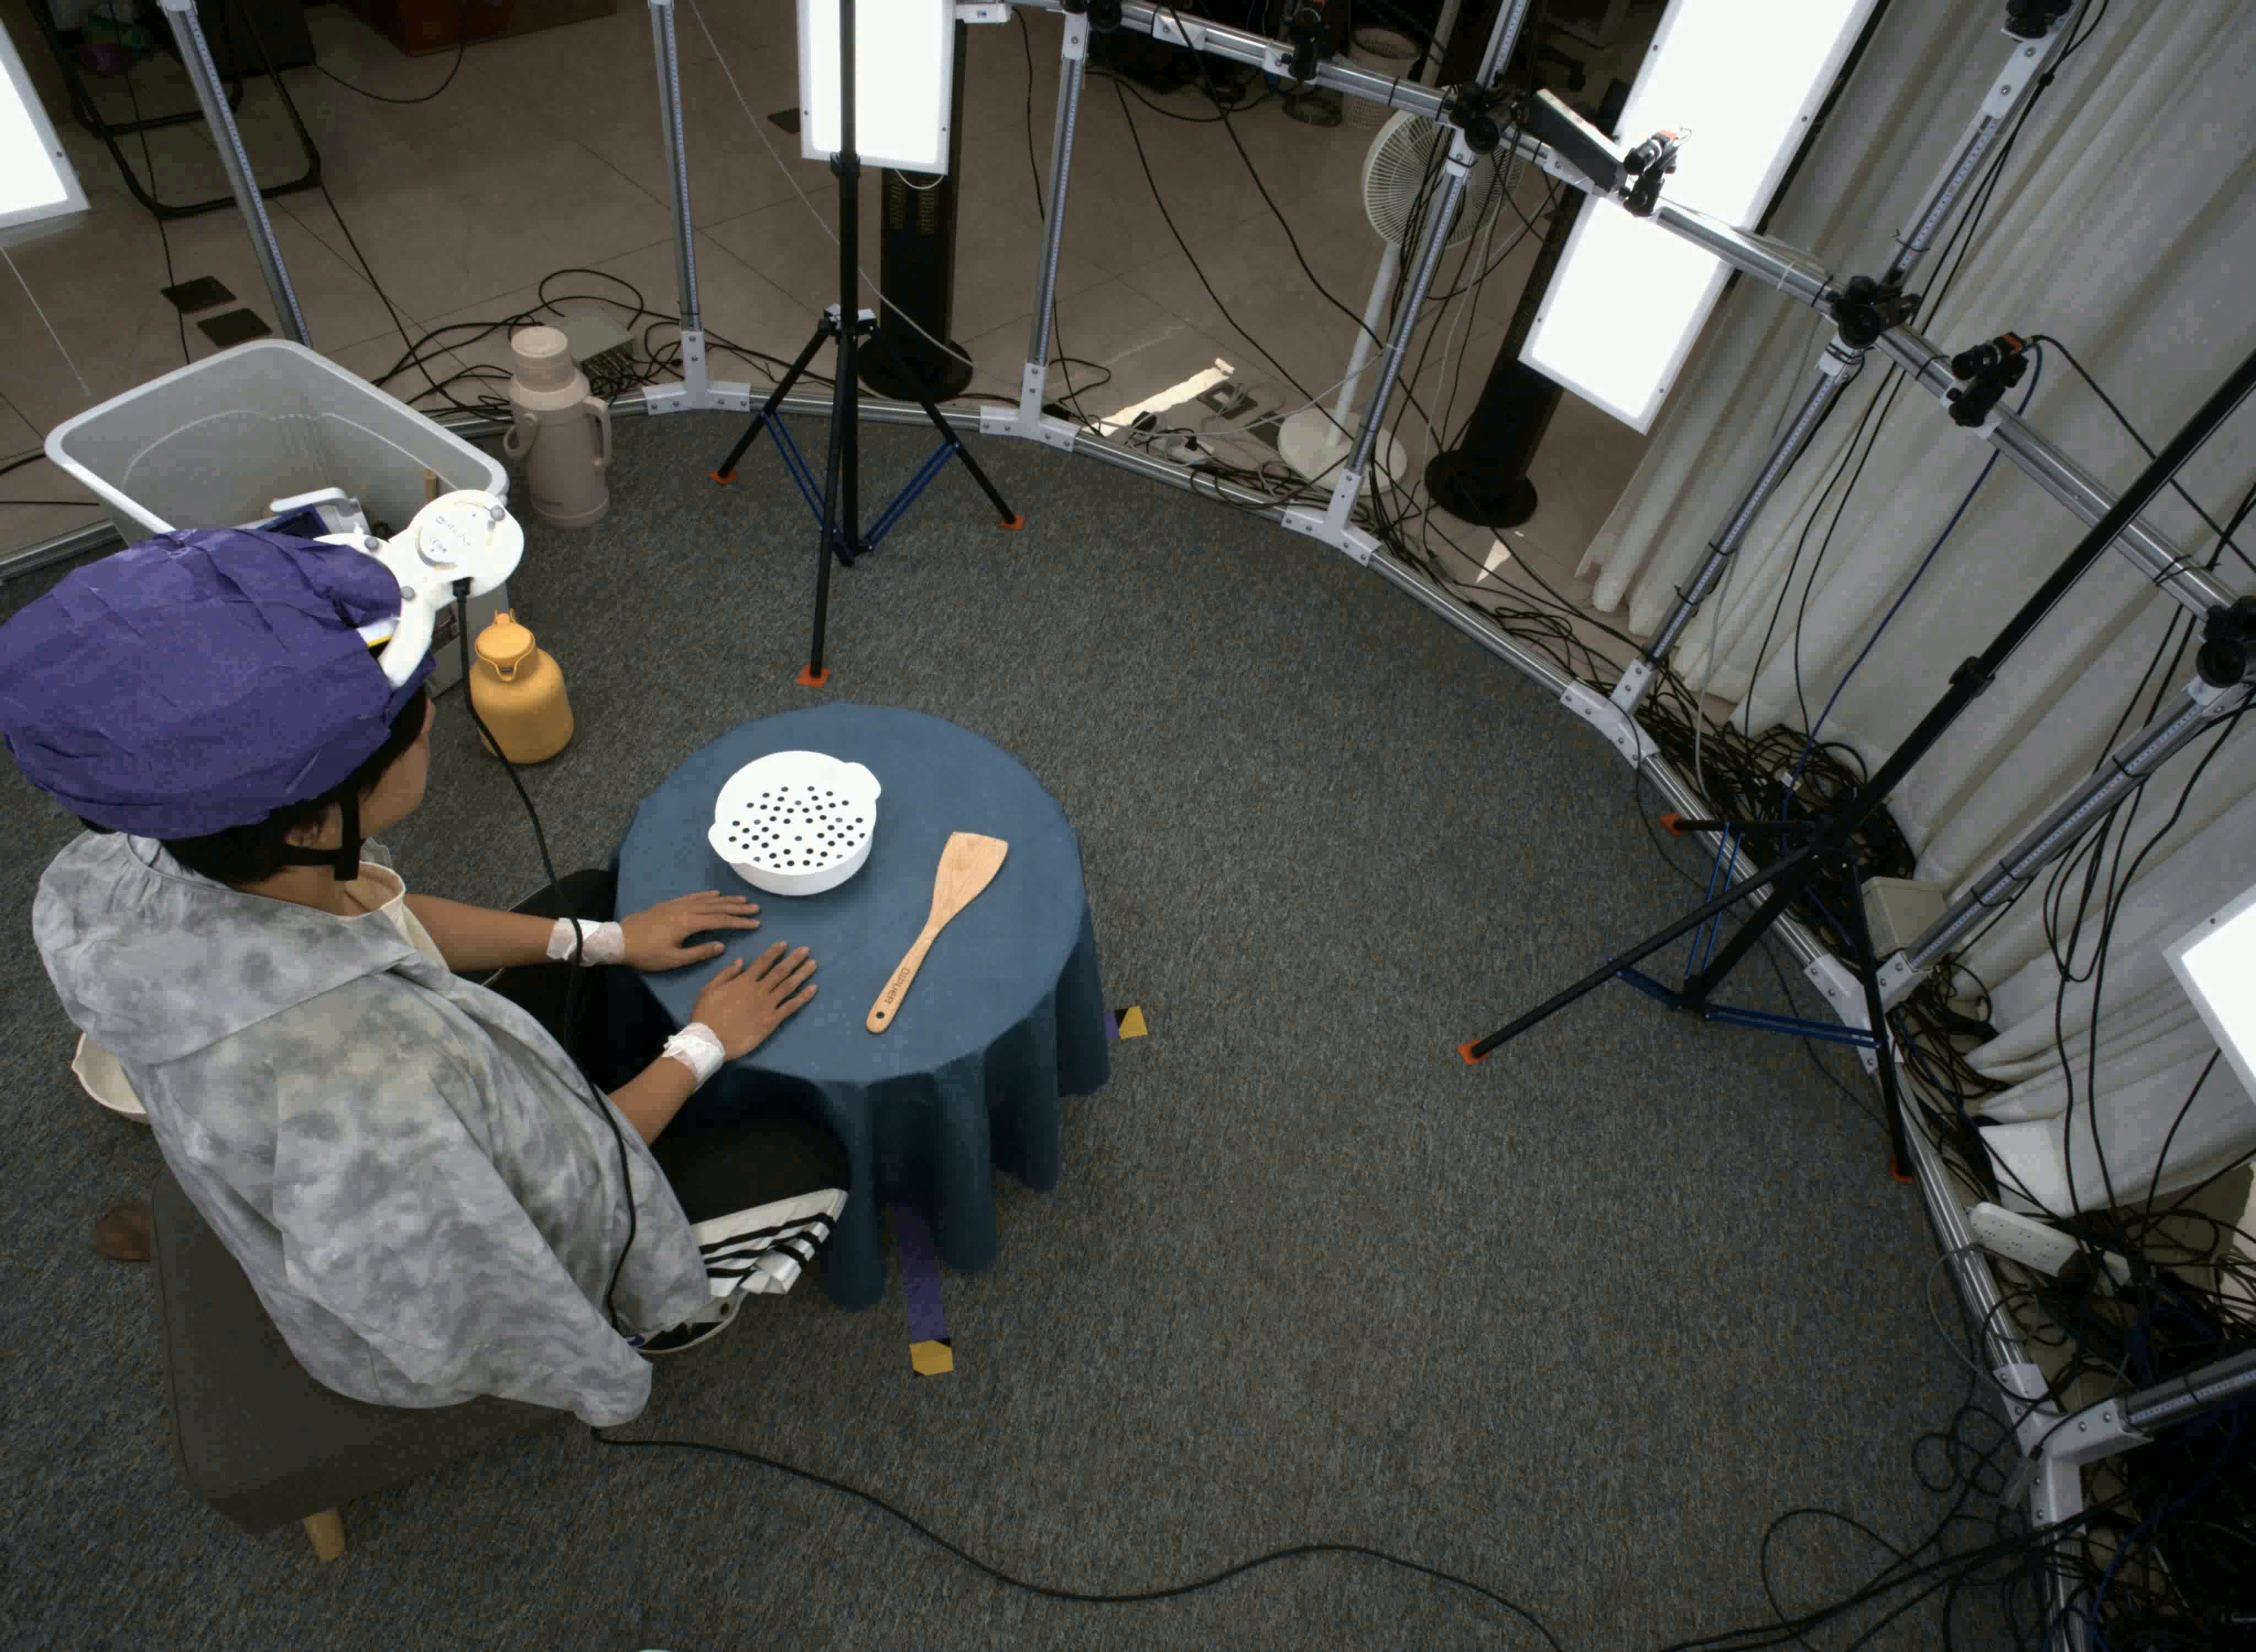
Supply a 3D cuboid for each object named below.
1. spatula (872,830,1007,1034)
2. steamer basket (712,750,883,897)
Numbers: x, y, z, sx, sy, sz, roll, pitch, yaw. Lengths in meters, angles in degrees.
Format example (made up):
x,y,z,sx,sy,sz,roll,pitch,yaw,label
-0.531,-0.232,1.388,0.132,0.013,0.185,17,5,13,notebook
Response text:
x,y,z,sx,sy,sz,roll,pitch,yaw,label
-0.249,0.127,1.664,0.079,0.017,0.325,22,52,4,spatula
-0.425,-0.003,1.687,0.231,0.071,0.197,-29,64,-29,steamer basket
